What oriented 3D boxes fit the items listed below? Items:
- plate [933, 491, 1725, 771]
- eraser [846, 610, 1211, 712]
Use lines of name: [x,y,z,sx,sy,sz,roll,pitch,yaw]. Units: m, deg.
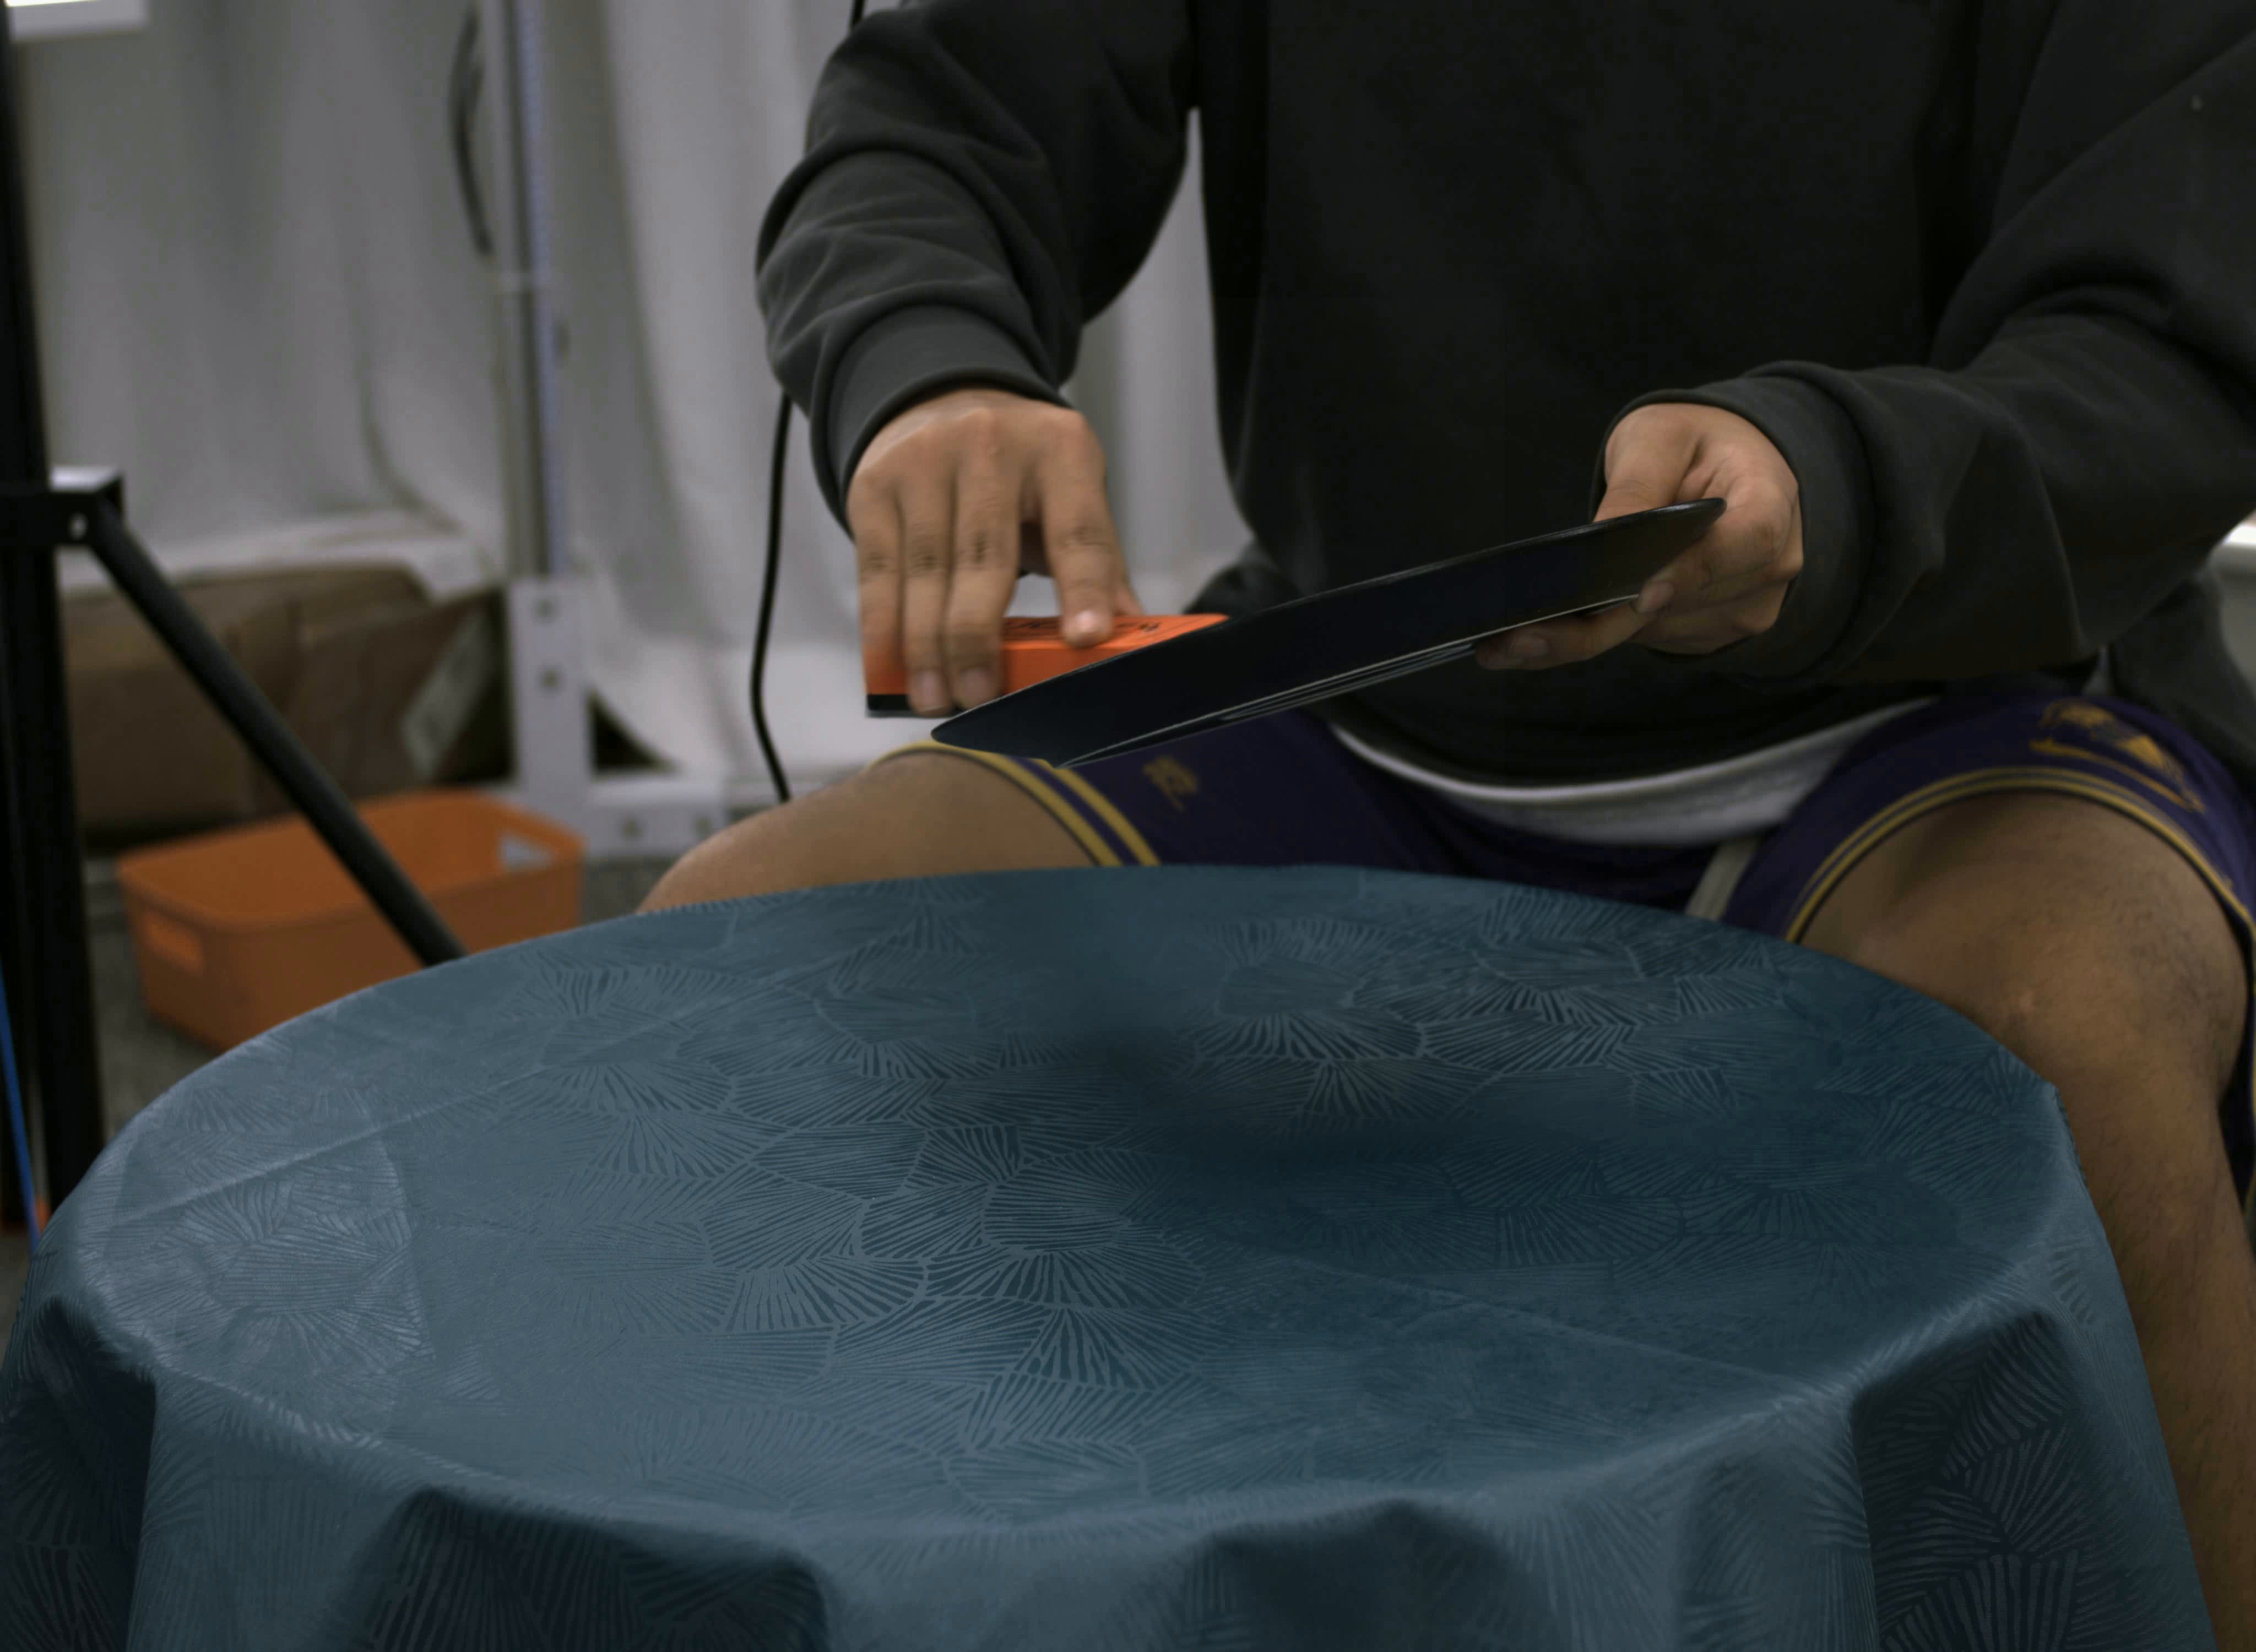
plate: [0.061,-0.052,1.566,0.243,0.023,0.244,-17,-1,-2]
eraser: [-0.030,-0.051,1.653,0.110,0.023,0.058,3,13,33]
